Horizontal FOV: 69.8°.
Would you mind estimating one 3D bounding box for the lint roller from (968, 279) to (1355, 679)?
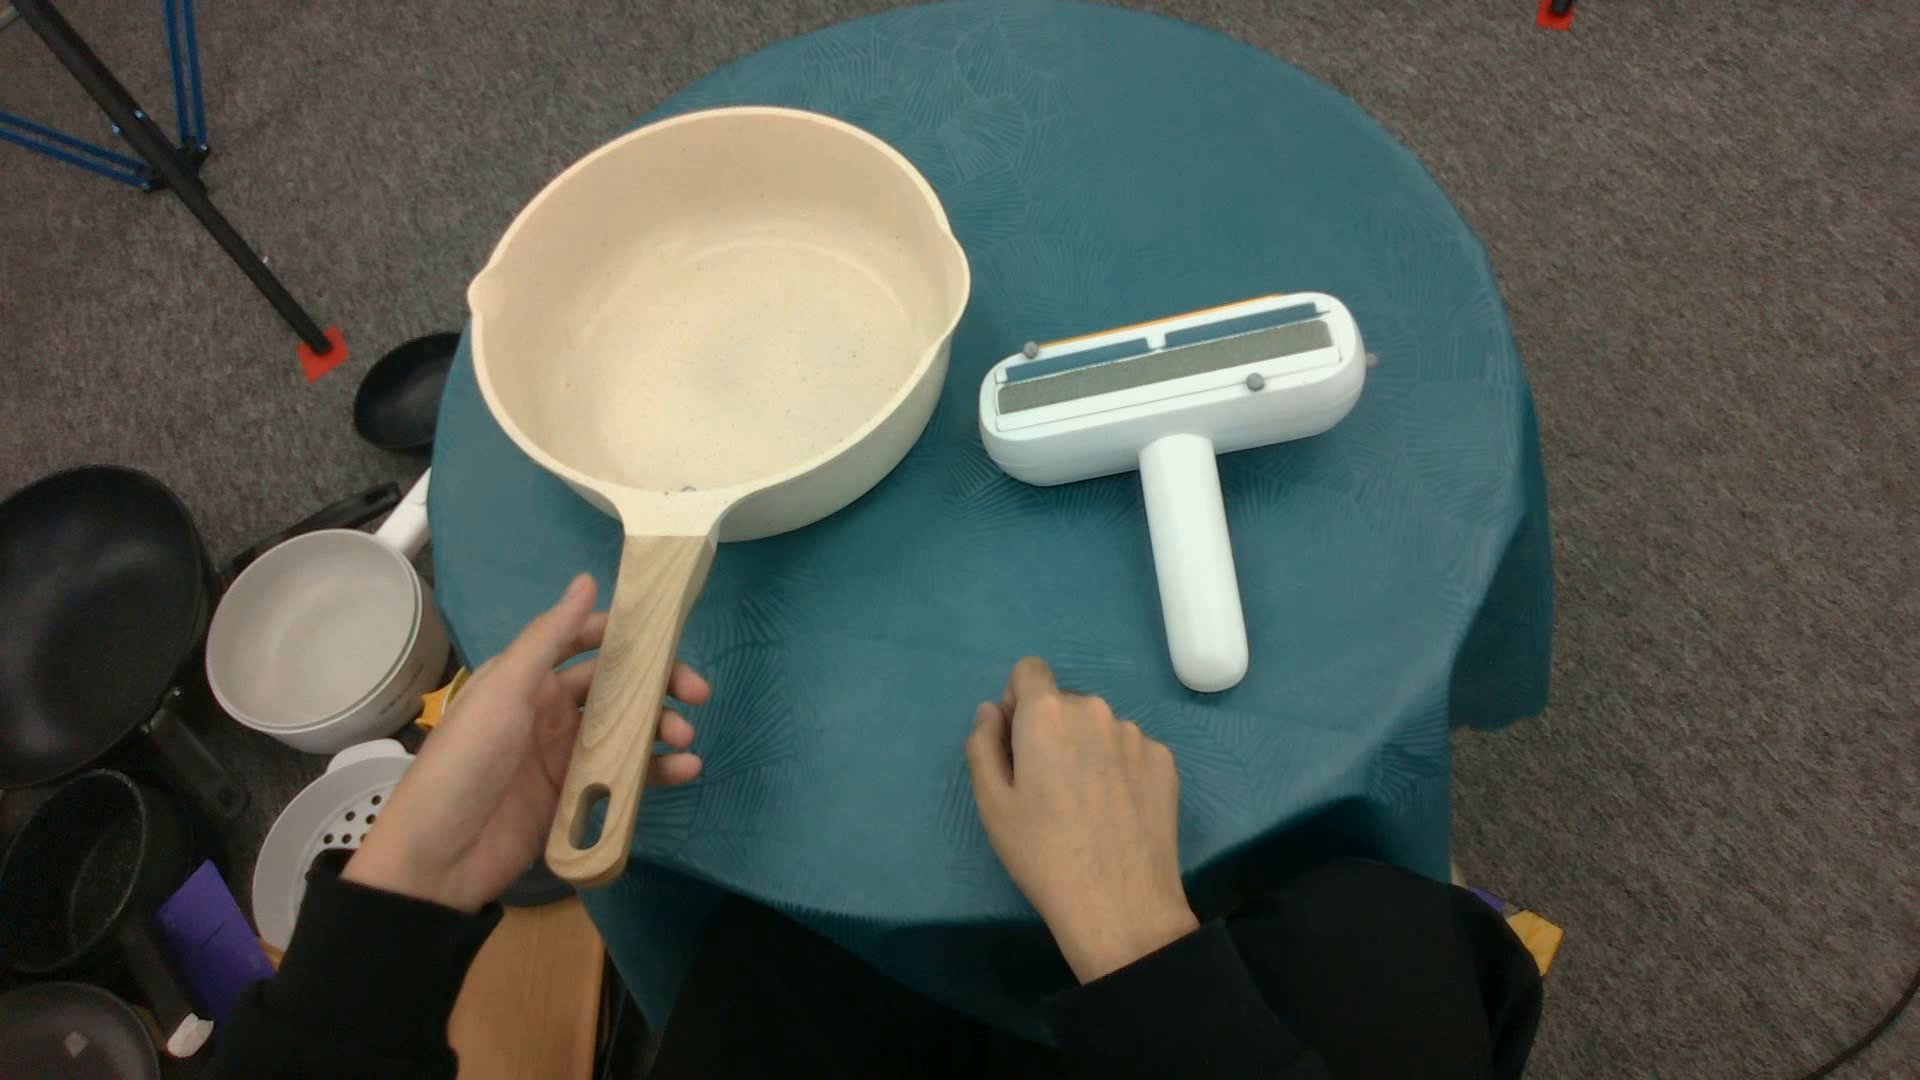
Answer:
[{"bbox_3d":[0.102,-0.030,0.679,0.192,0.074,0.193,-6,64,9],"label":"lint roller"}]

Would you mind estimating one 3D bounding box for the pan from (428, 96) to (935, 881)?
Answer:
[{"bbox_3d":[-0.146,-0.038,0.690,0.263,0.101,0.436,1,62,3],"label":"pan"}]
